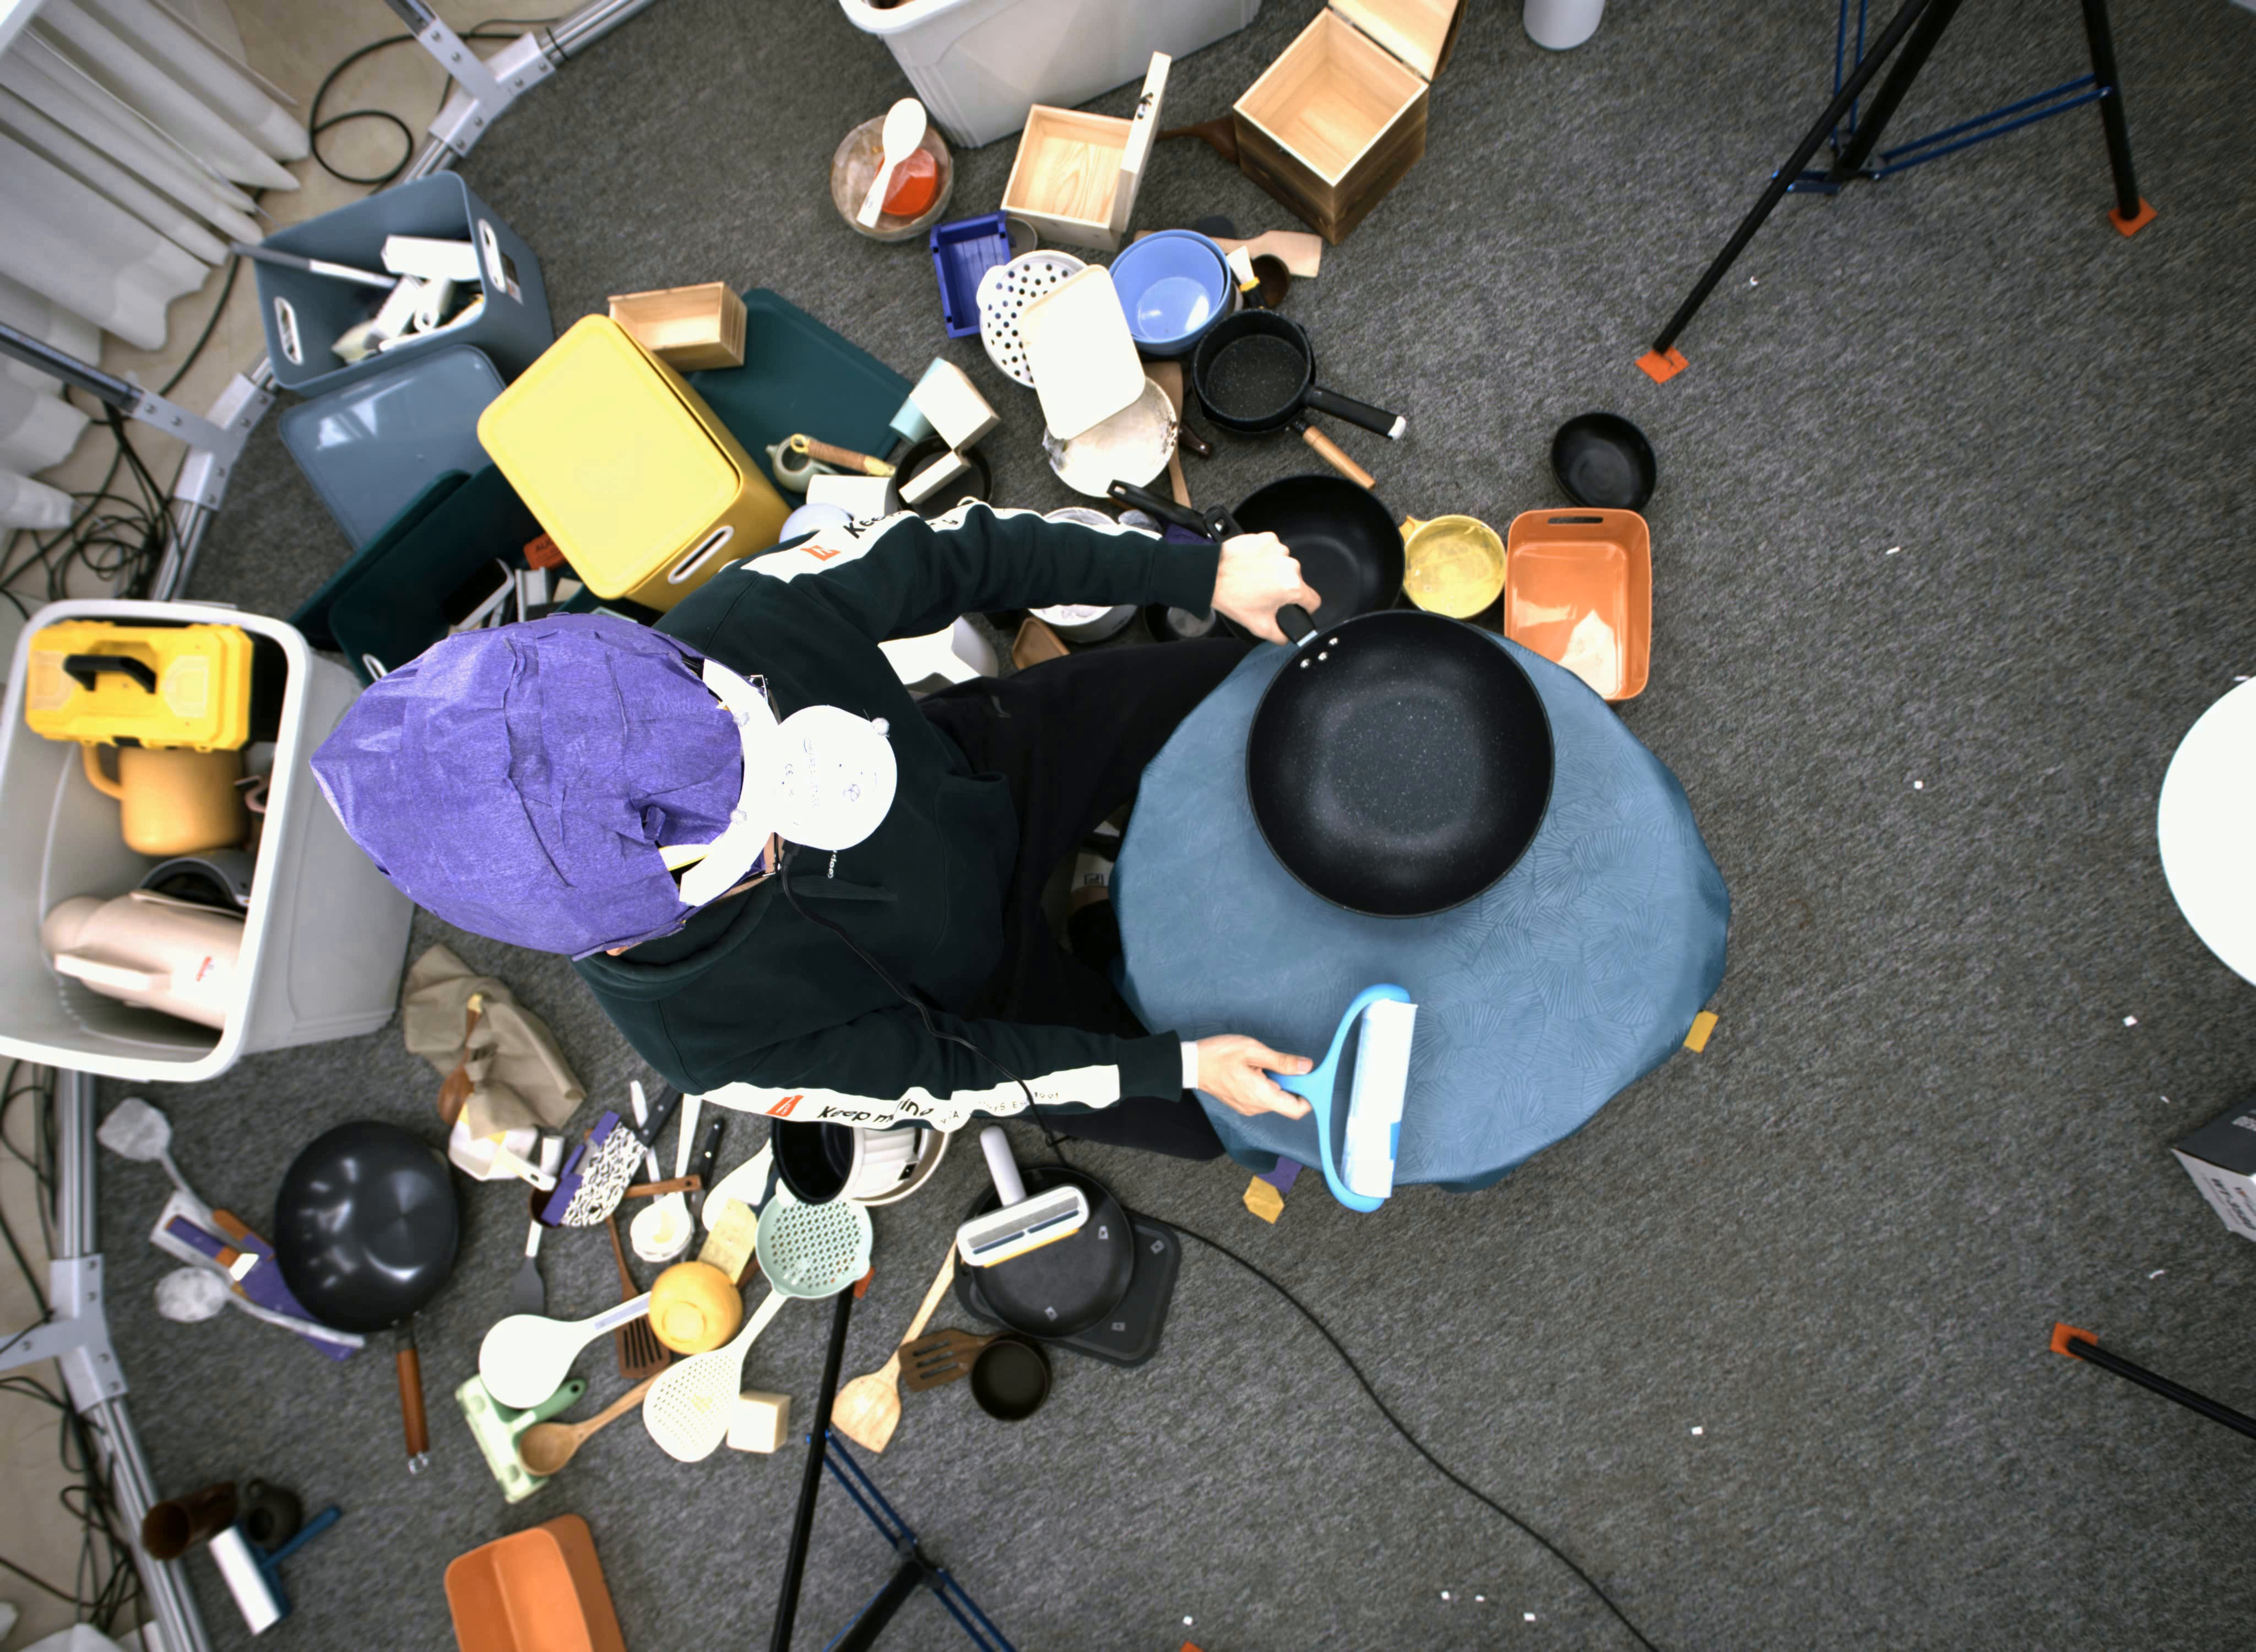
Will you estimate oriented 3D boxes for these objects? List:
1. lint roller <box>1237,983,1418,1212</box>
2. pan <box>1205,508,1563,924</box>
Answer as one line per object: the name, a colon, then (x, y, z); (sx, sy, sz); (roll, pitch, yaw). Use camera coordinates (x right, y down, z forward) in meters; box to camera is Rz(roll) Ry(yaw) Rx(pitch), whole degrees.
lint roller: (0.196, 0.267, 1.402); (0.181, 0.068, 0.228); (4, 86, 12)
pan: (0.233, -0.126, 1.398); (0.314, 0.111, 0.474); (-37, 79, 19)
